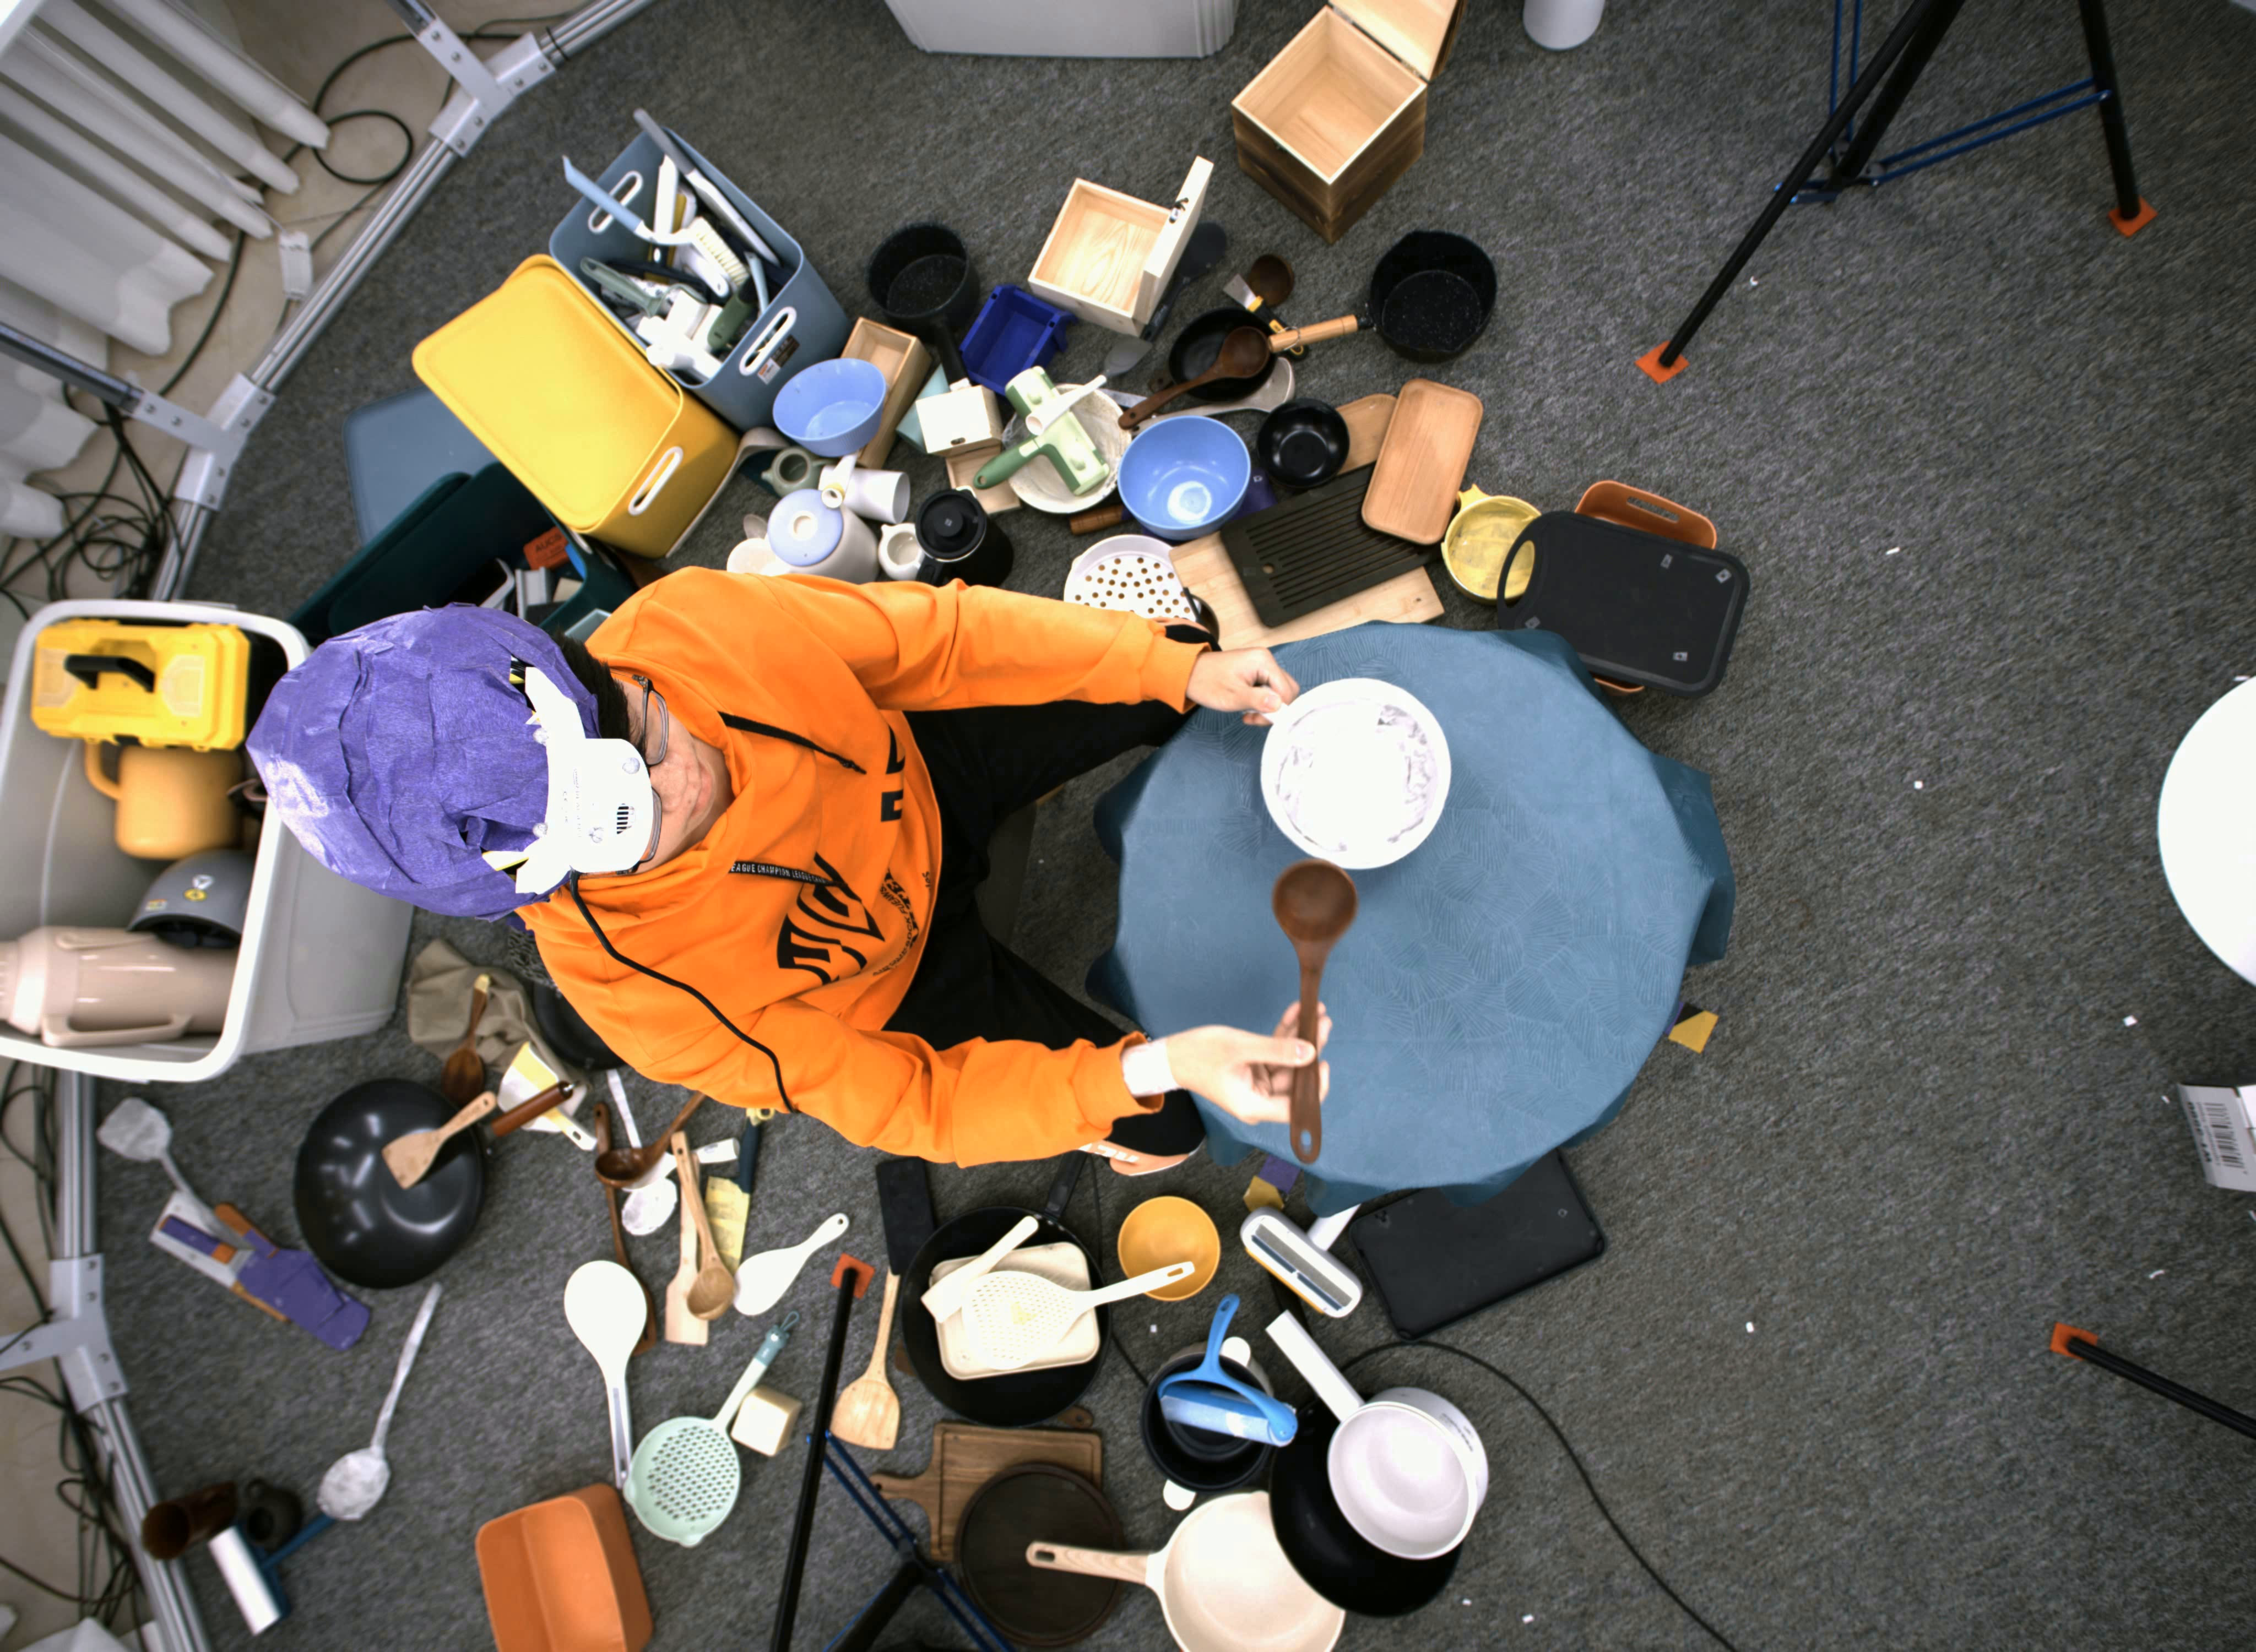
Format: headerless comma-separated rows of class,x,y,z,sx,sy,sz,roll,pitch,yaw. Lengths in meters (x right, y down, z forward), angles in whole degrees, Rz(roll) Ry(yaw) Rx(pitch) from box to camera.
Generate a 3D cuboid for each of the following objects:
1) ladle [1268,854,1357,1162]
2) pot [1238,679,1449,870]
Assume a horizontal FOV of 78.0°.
ladle,0.150,0.147,1.163,0.077,0.066,0.254,-2,63,19
pot,0.202,-0.065,1.359,0.233,0.136,0.179,39,95,10
